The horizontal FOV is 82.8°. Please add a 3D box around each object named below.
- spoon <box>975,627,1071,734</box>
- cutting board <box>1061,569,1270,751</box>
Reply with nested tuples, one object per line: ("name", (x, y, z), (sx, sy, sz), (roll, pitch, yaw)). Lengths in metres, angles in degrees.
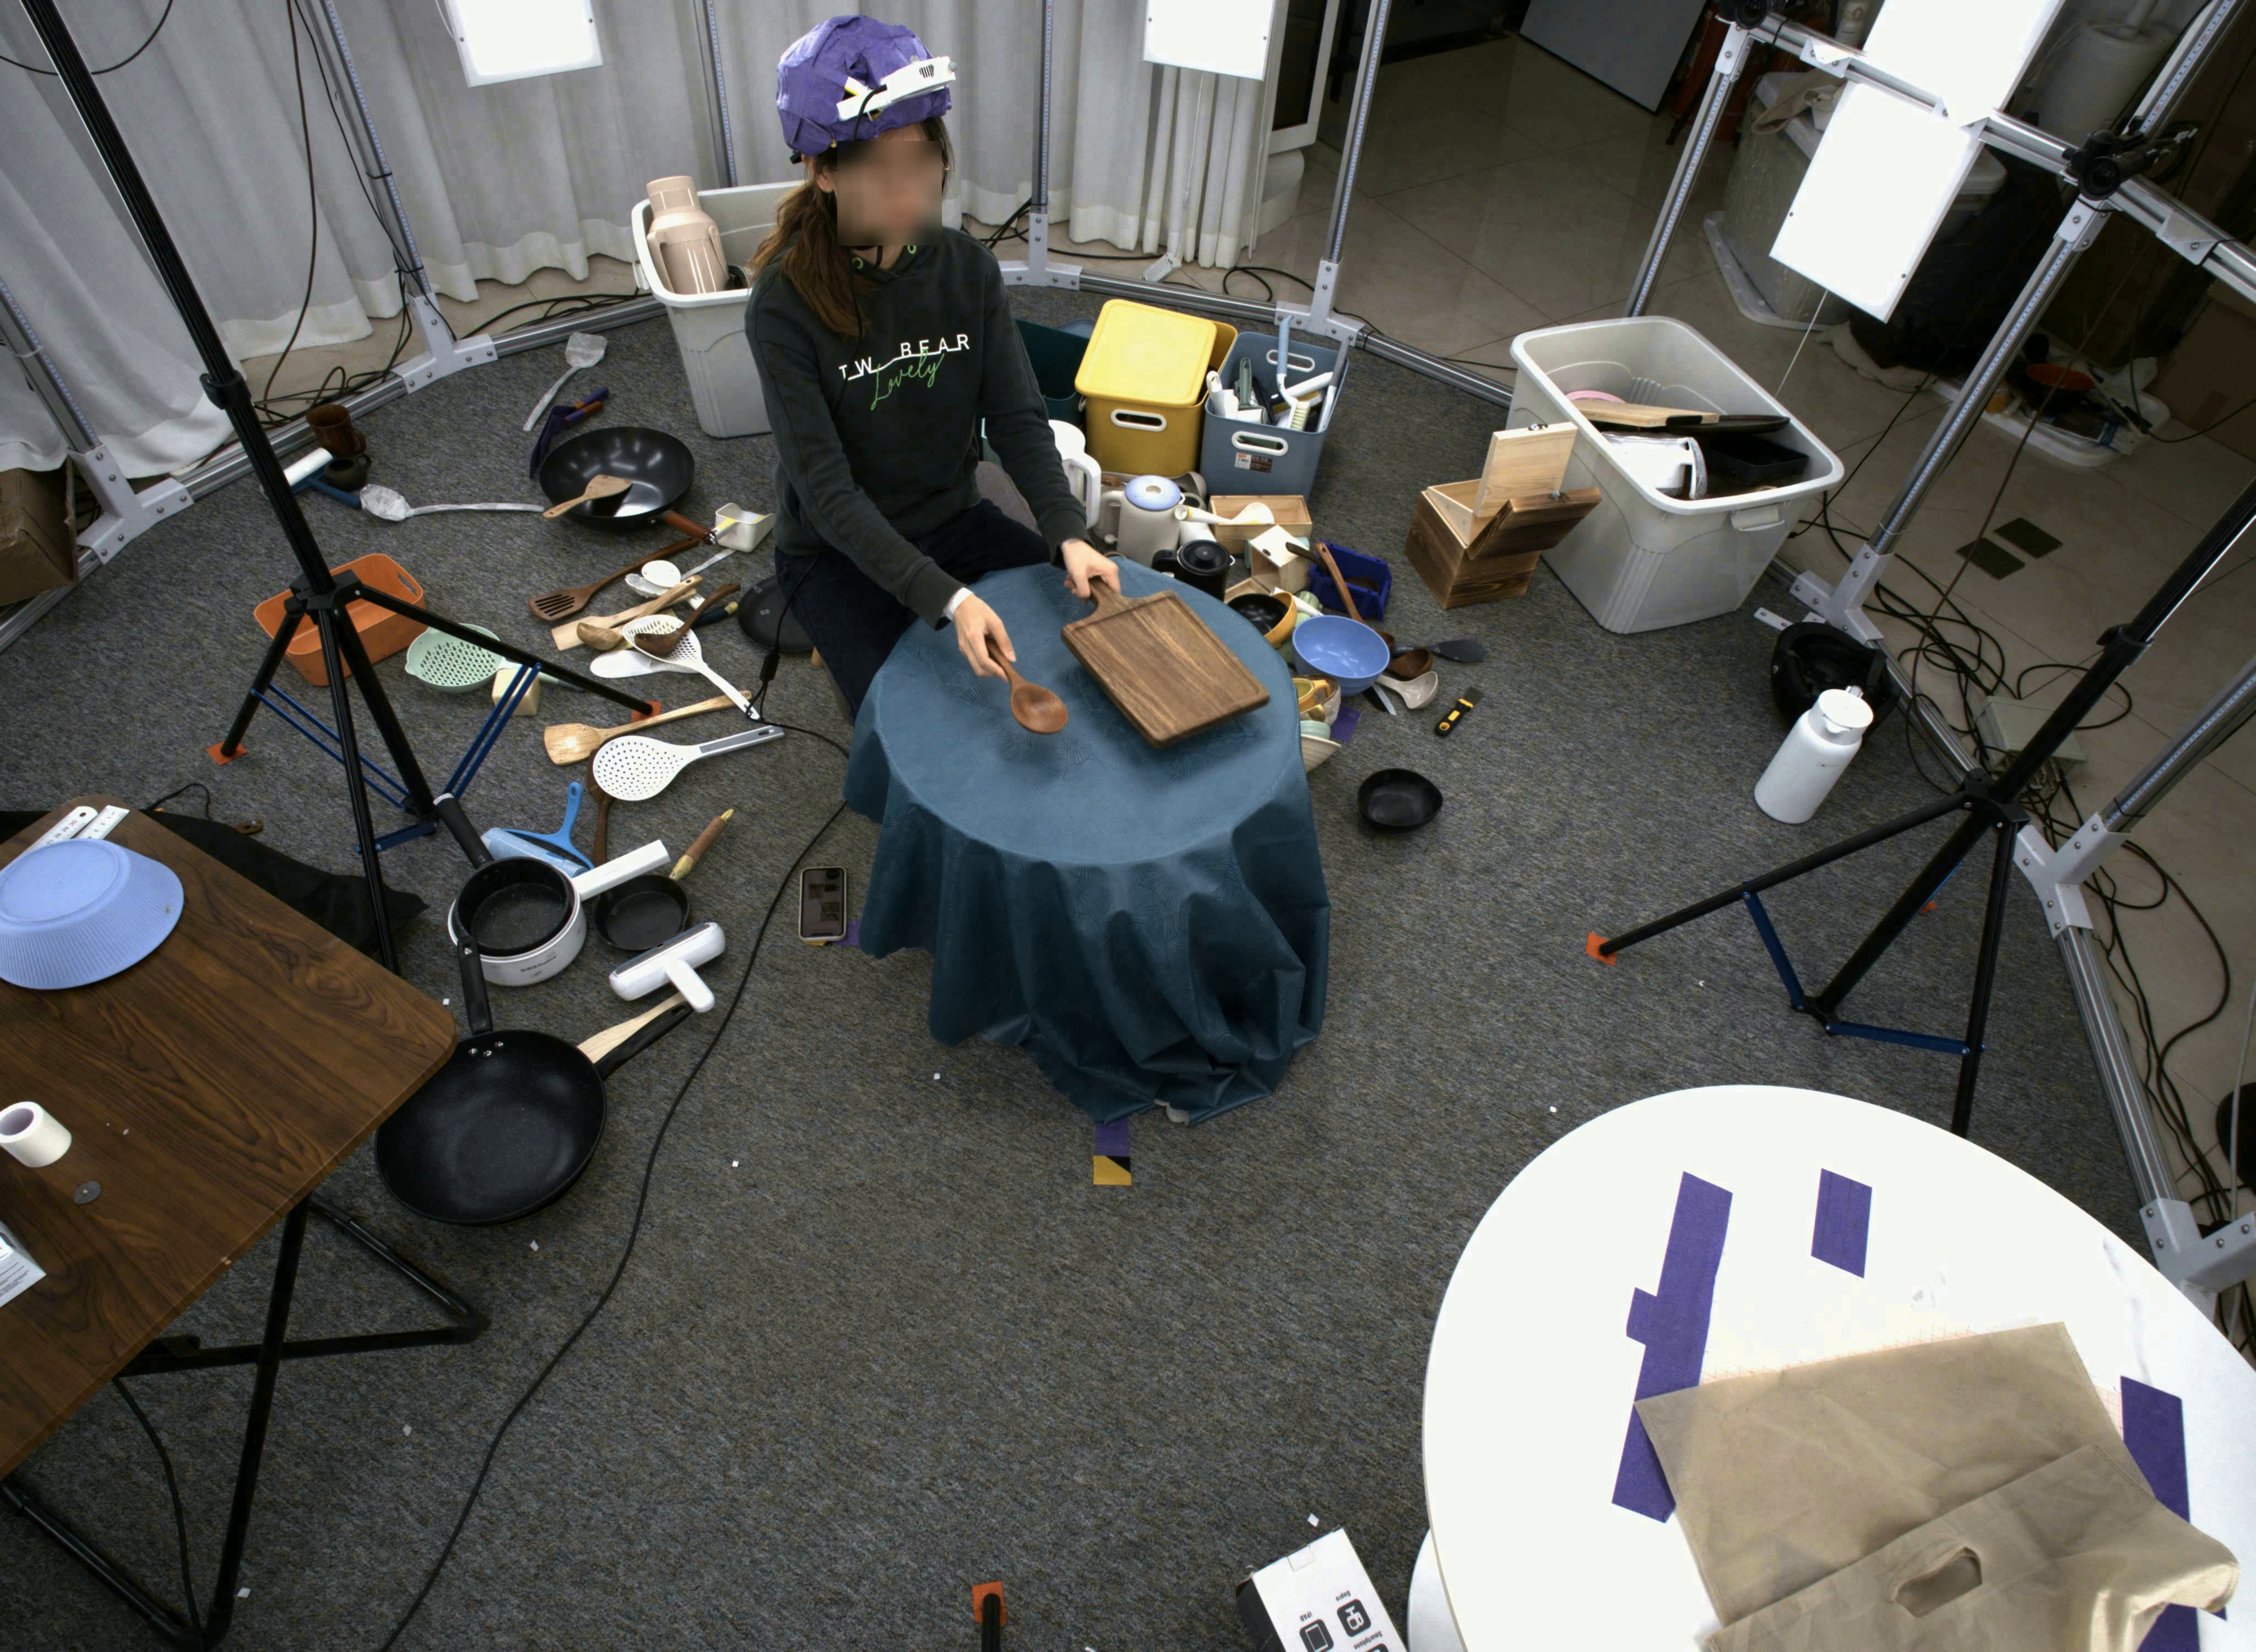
("spoon", (-0.151, -0.200, 1.763), (0.076, 0.017, 0.220), (-21, 58, -25))
("cutting board", (0.025, -0.260, 1.844), (0.202, 0.022, 0.359), (-24, 56, -24))
